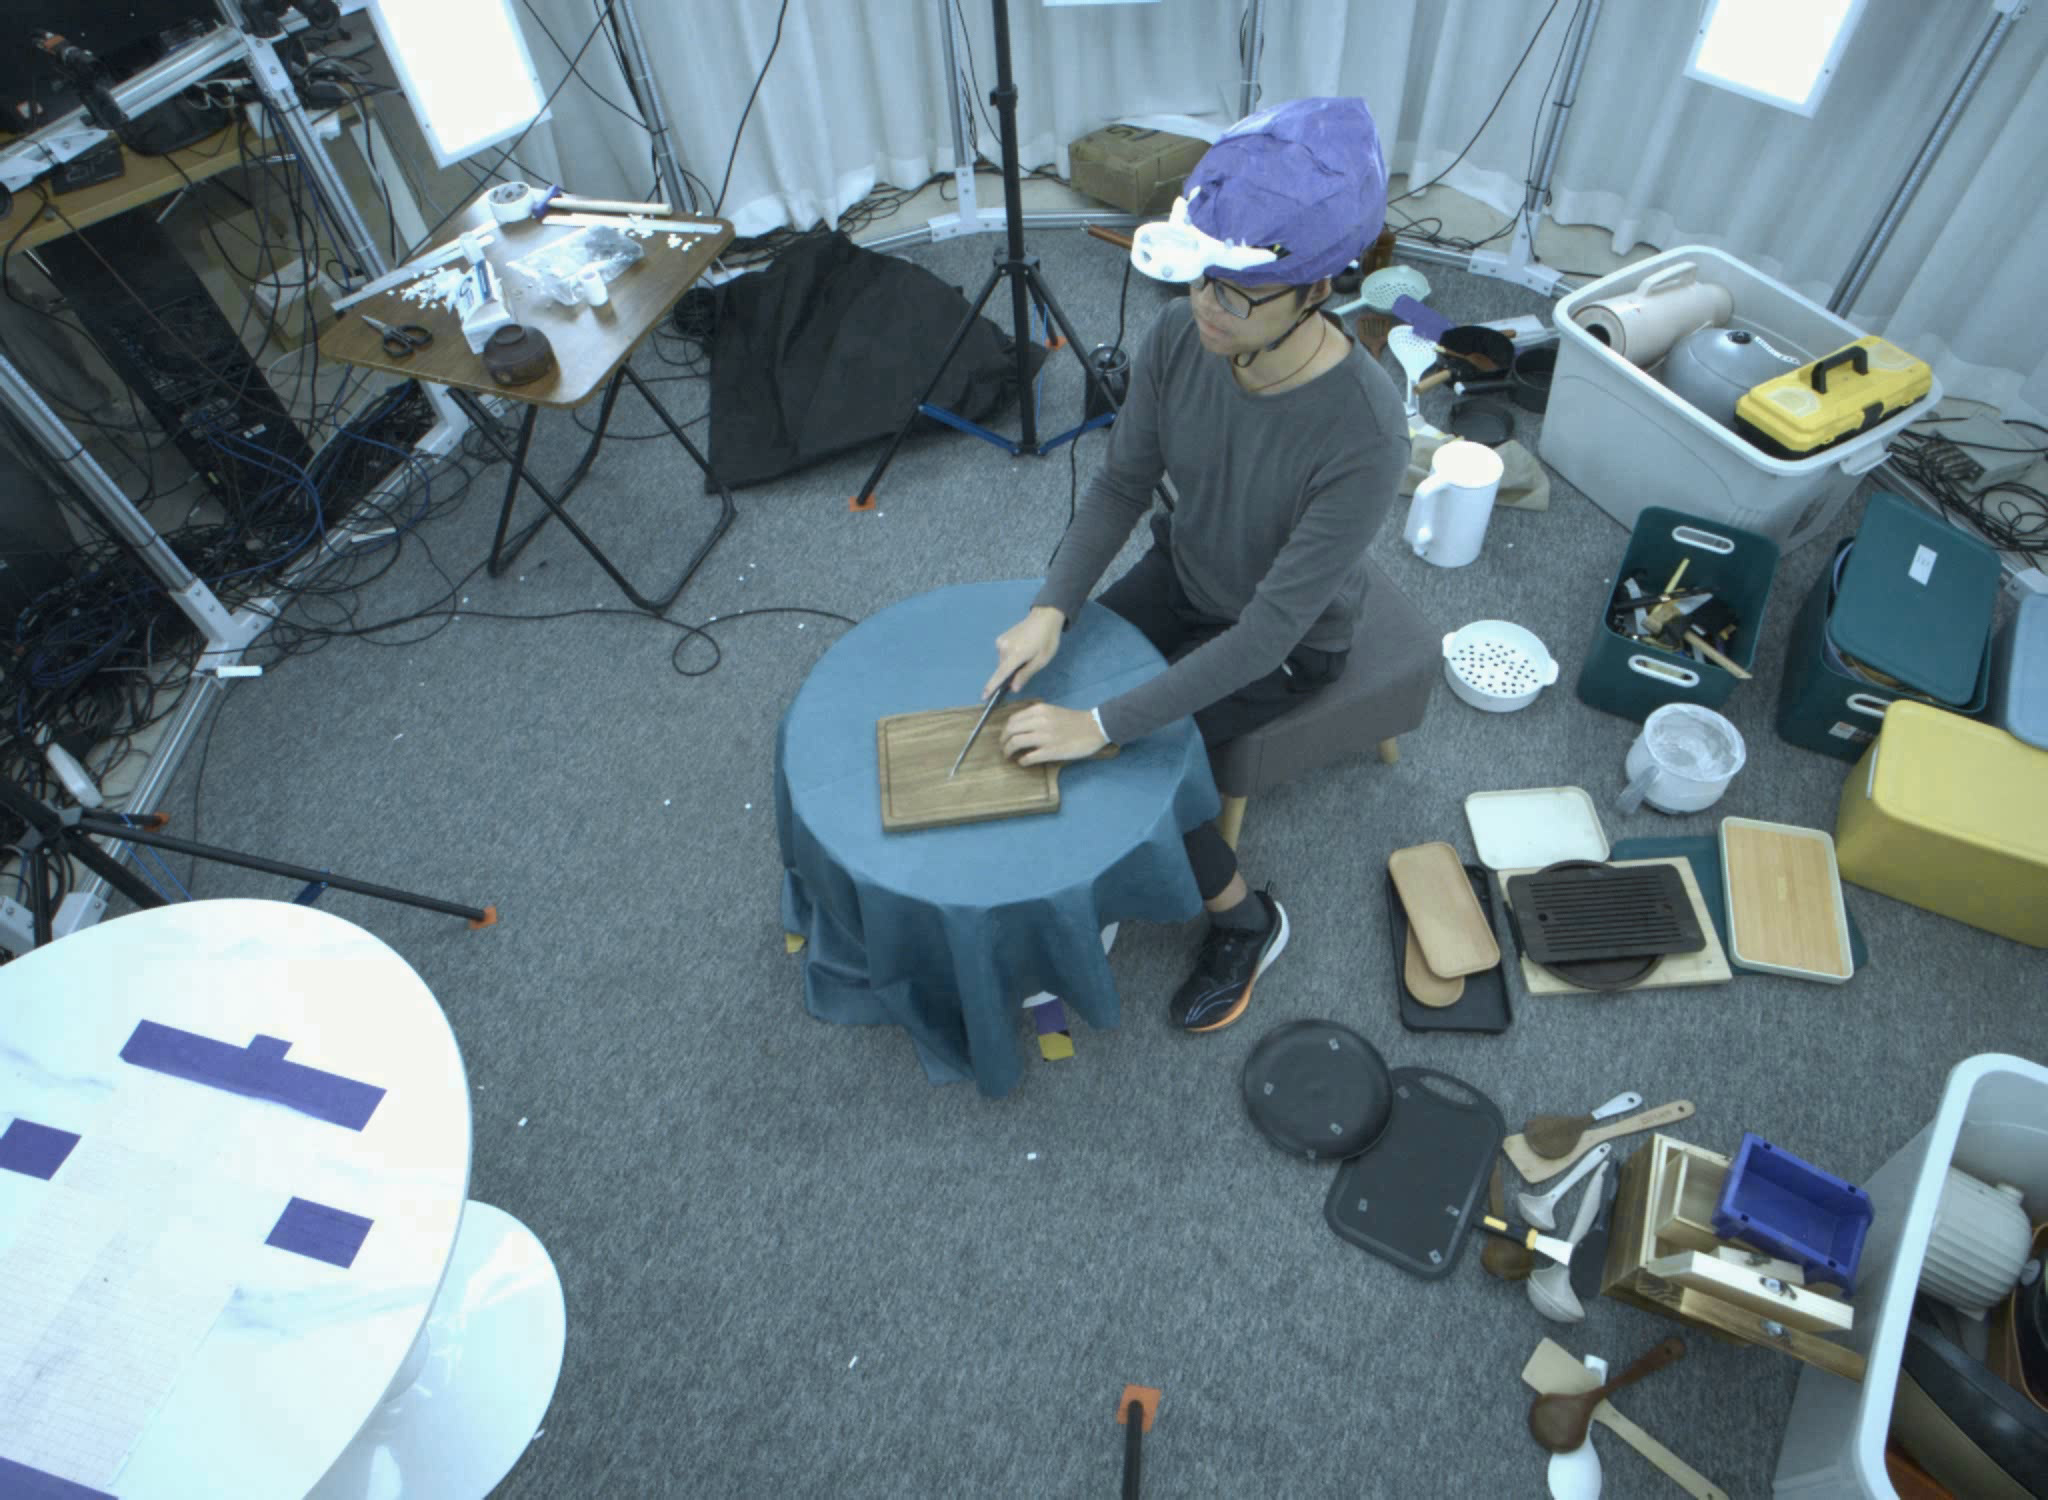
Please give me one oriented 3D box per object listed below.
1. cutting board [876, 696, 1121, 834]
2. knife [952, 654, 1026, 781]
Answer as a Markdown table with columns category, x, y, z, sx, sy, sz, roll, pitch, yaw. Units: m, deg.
| category | x | y | z | sx | sy | sz | roll | pitch | yaw |
| --- | --- | --- | --- | --- | --- | --- | --- | --- | --- |
| cutting board | -0.033 | 0.012 | 1.775 | 0.353 | 0.023 | 0.198 | -7 | 55 | -4 |
| knife | -0.051 | -0.051 | 1.761 | 0.016 | 0.025 | 0.238 | 17 | 59 | 19 |
